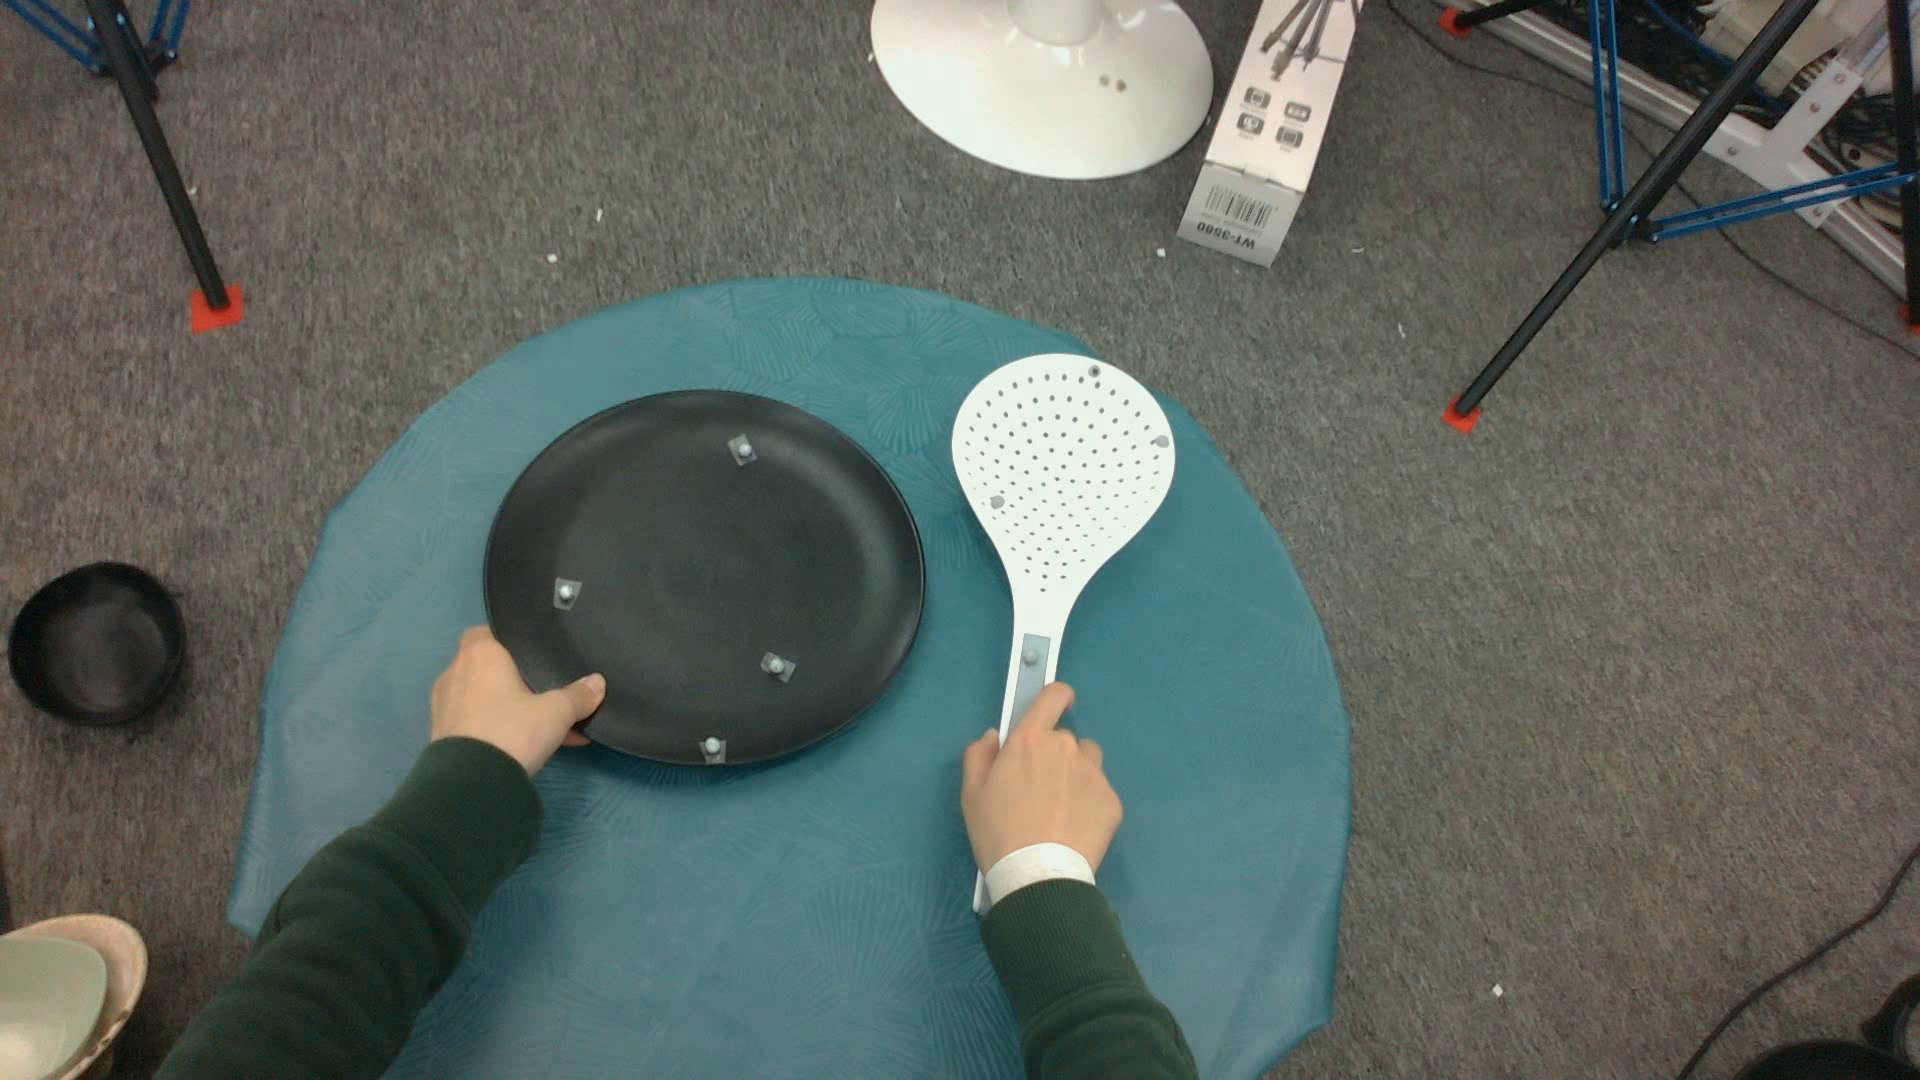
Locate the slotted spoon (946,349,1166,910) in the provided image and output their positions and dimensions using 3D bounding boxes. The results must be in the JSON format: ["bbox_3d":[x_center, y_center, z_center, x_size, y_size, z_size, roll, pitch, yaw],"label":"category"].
[{"bbox_3d":[0.041,0.038,0.795,0.136,0.045,0.351,9,57,1],"label":"slotted spoon"}]

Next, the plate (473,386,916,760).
[{"bbox_3d":[-0.147,0.015,0.781,0.244,0.023,0.245,6,57,-9],"label":"plate"}]
